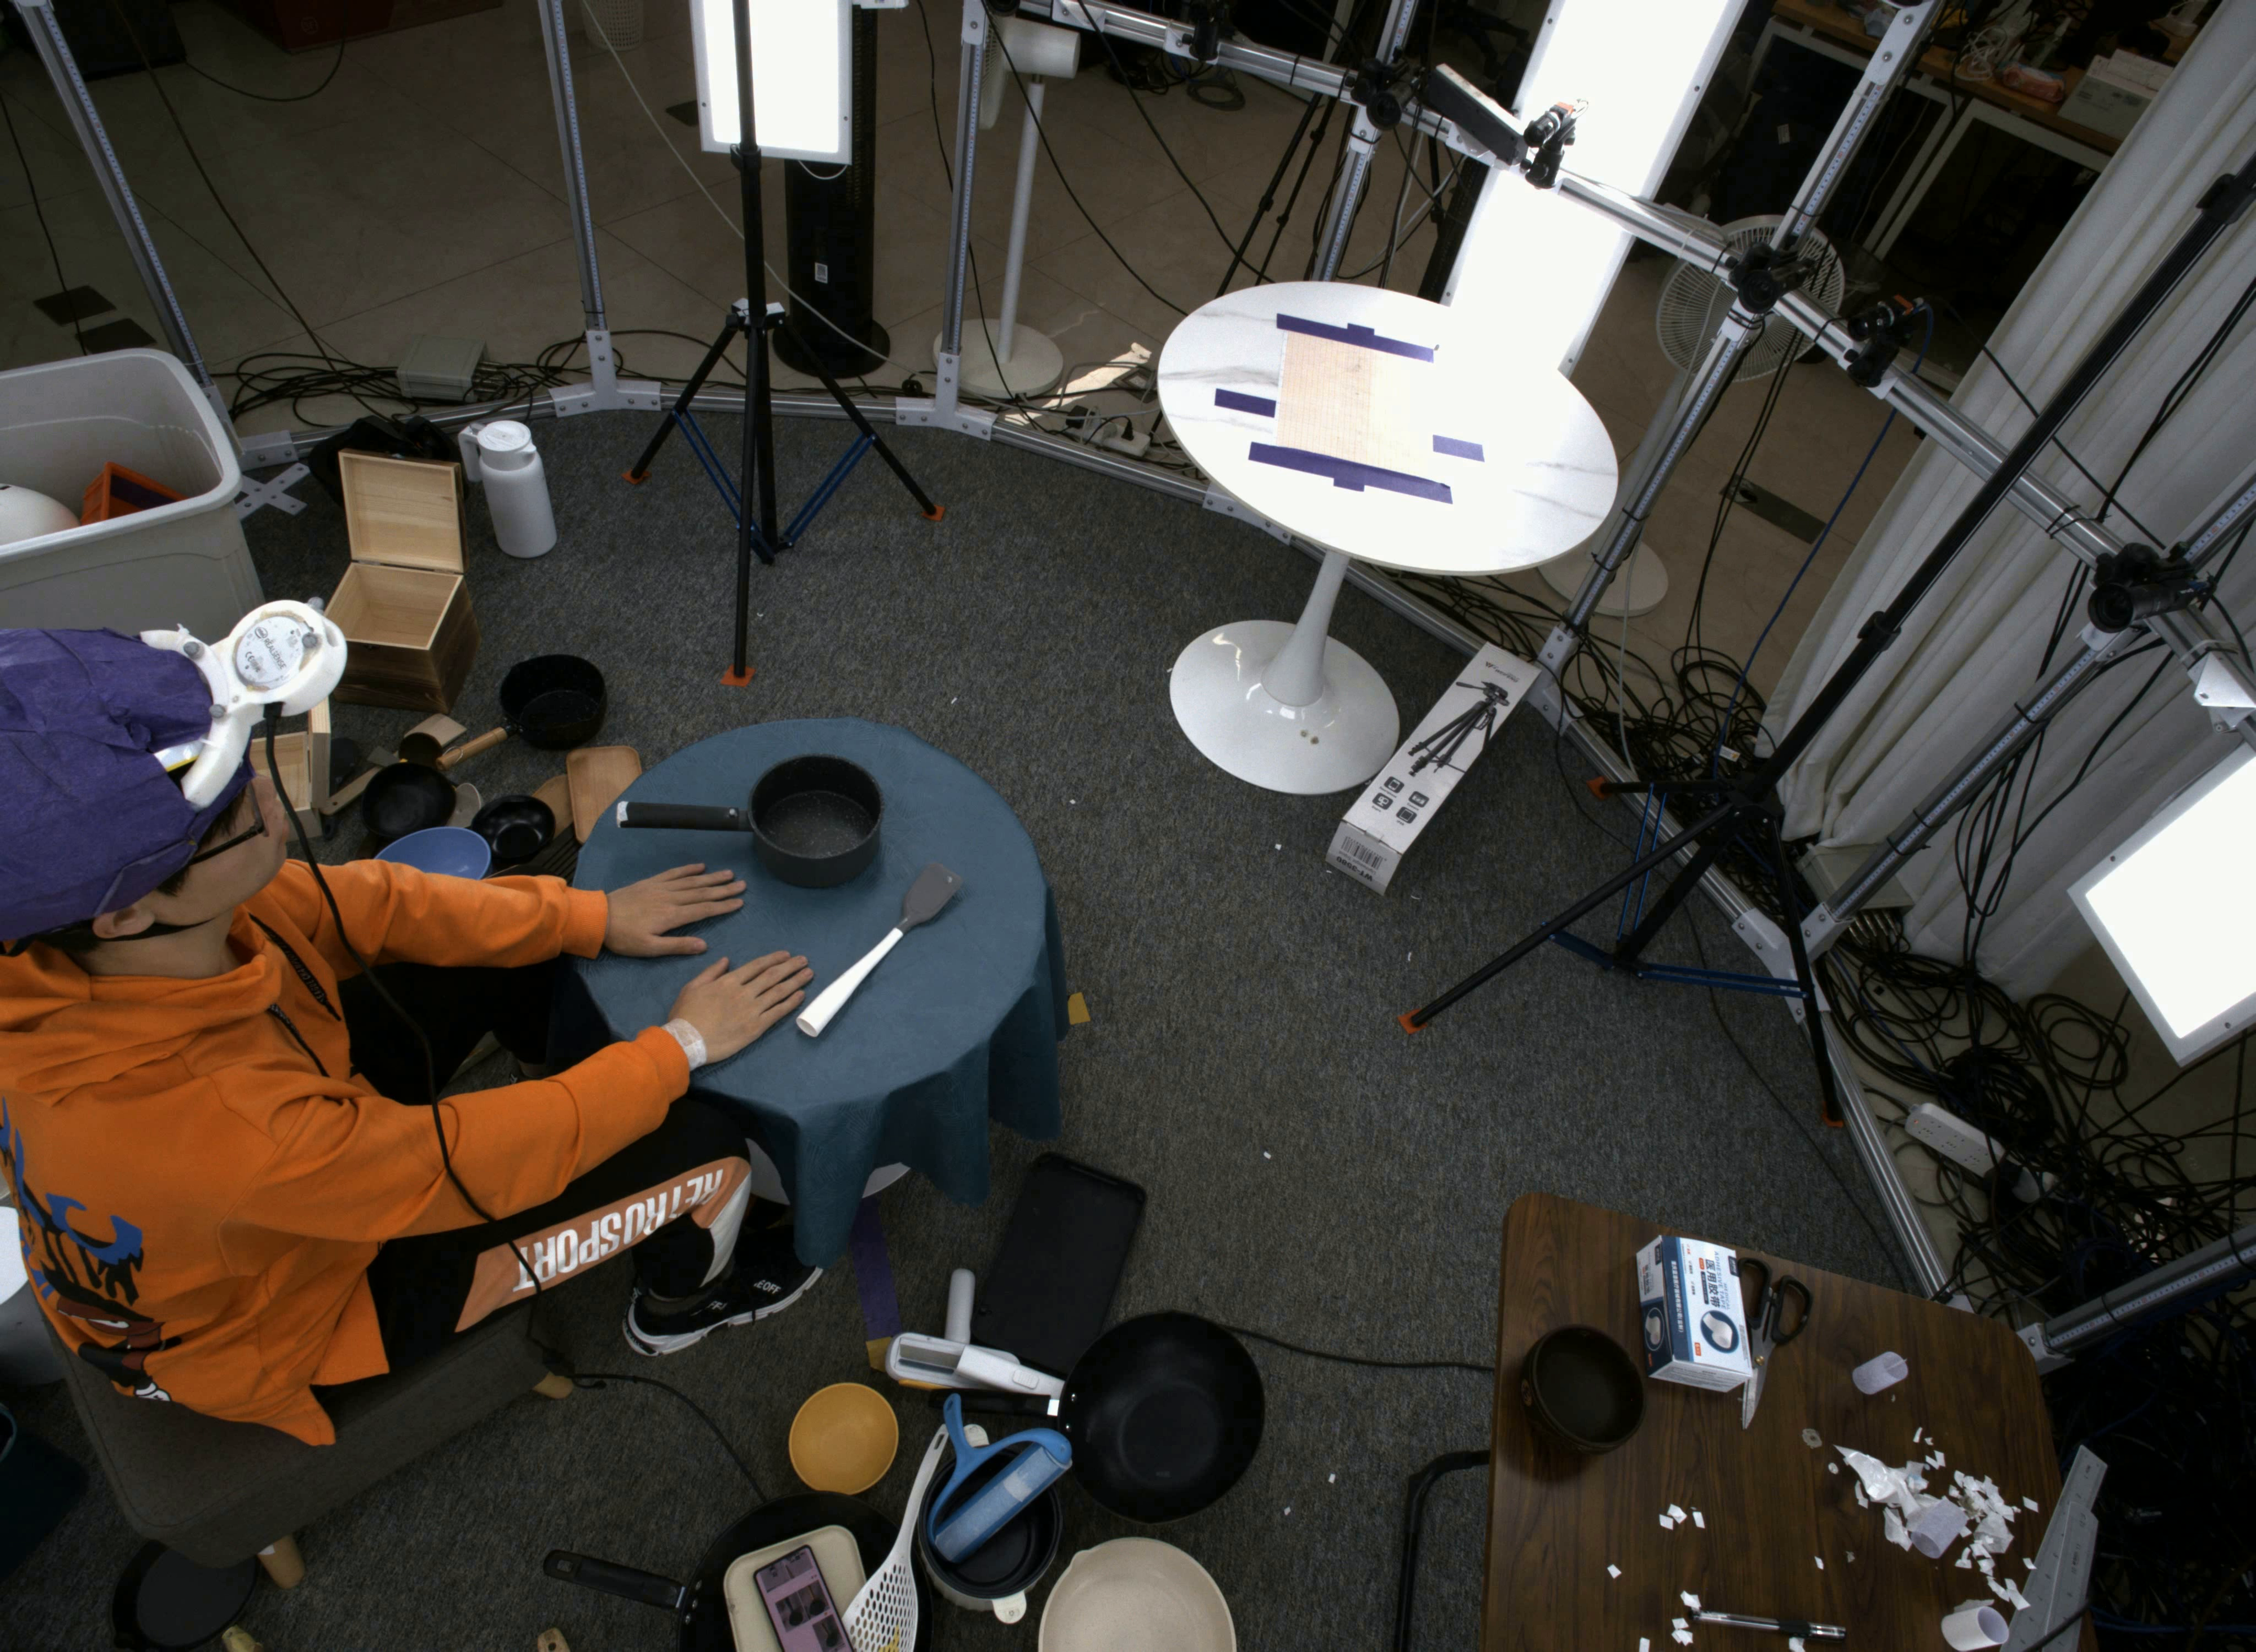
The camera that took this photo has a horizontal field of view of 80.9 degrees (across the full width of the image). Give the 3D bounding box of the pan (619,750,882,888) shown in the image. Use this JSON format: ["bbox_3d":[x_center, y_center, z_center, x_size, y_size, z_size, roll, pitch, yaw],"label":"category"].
[{"bbox_3d":[-0.480,-0.007,1.649,0.330,0.088,0.168,-1,53,-17],"label":"pan"}]

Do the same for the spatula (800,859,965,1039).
[{"bbox_3d":[-0.304,0.147,1.615,0.057,0.033,0.287,29,53,13],"label":"spatula"}]
